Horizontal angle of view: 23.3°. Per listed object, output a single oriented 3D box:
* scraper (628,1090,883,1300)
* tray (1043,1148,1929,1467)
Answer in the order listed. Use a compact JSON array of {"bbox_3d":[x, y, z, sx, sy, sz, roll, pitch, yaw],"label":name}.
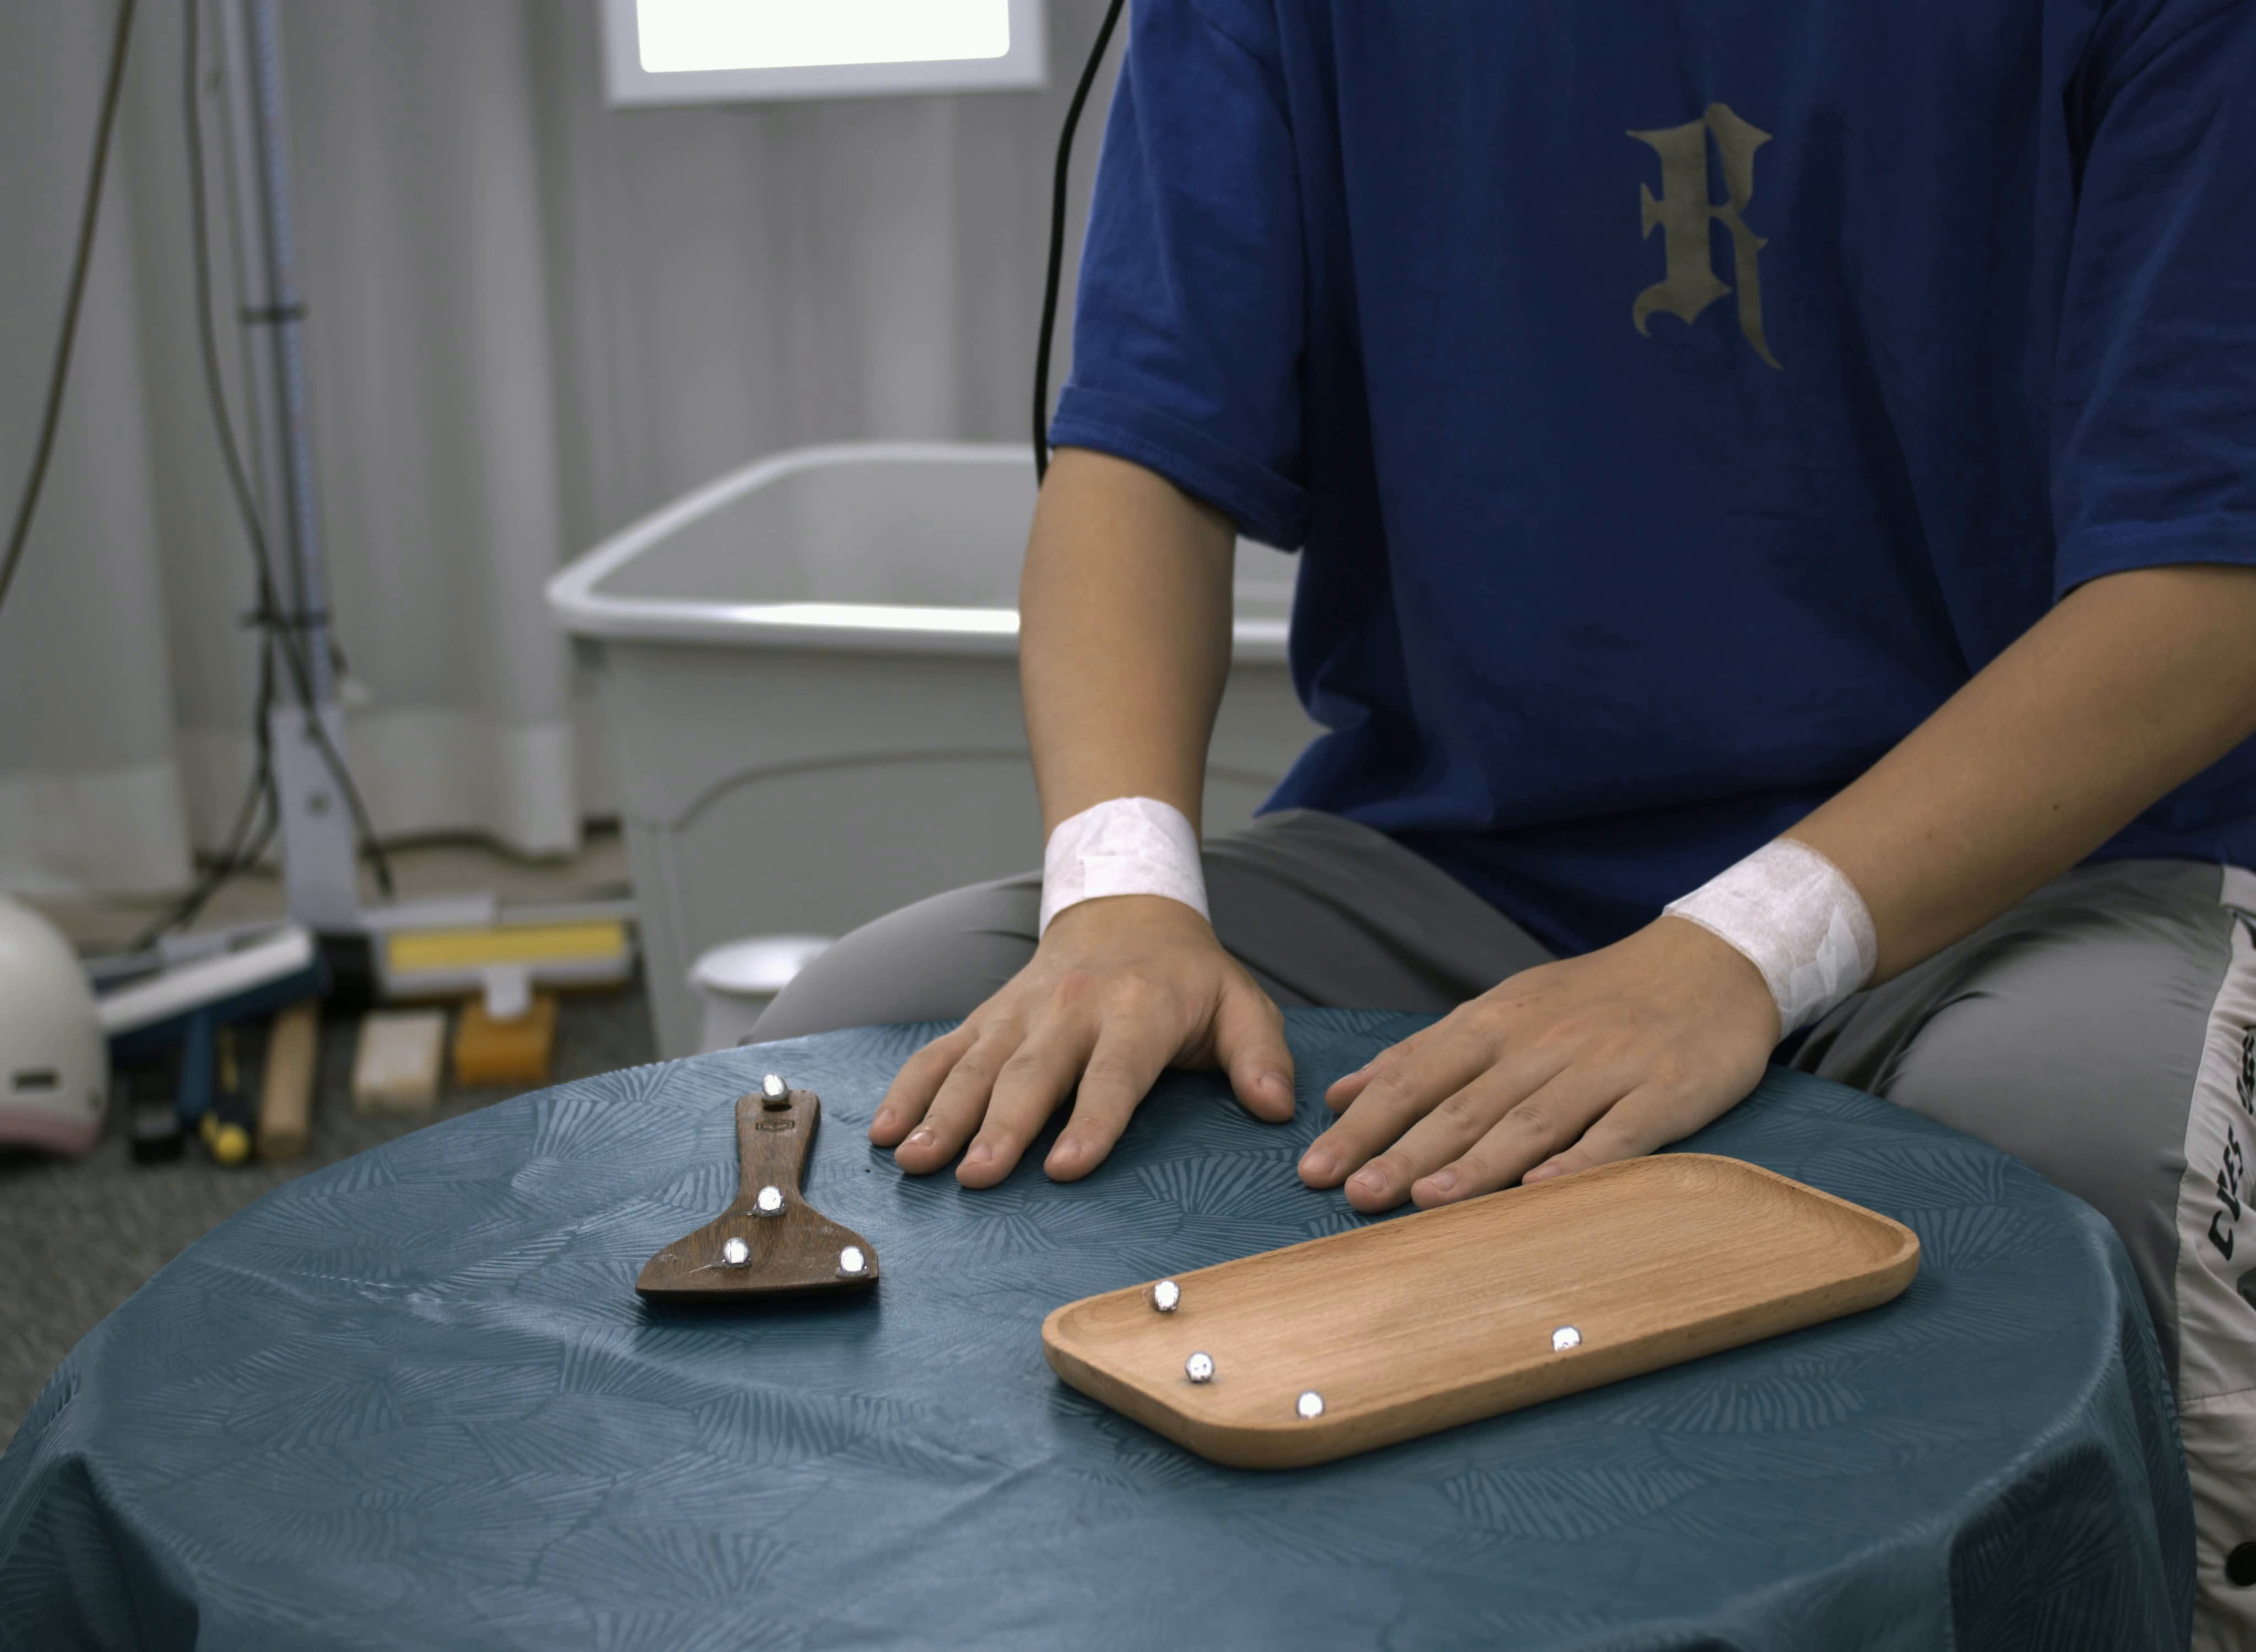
[{"bbox_3d":[-0.113,0.115,1.713,0.075,0.011,0.212,-2,14,-1],"label":"scraper"},{"bbox_3d":[0.104,0.137,1.573,0.249,0.023,0.131,-11,19,-29],"label":"tray"}]
